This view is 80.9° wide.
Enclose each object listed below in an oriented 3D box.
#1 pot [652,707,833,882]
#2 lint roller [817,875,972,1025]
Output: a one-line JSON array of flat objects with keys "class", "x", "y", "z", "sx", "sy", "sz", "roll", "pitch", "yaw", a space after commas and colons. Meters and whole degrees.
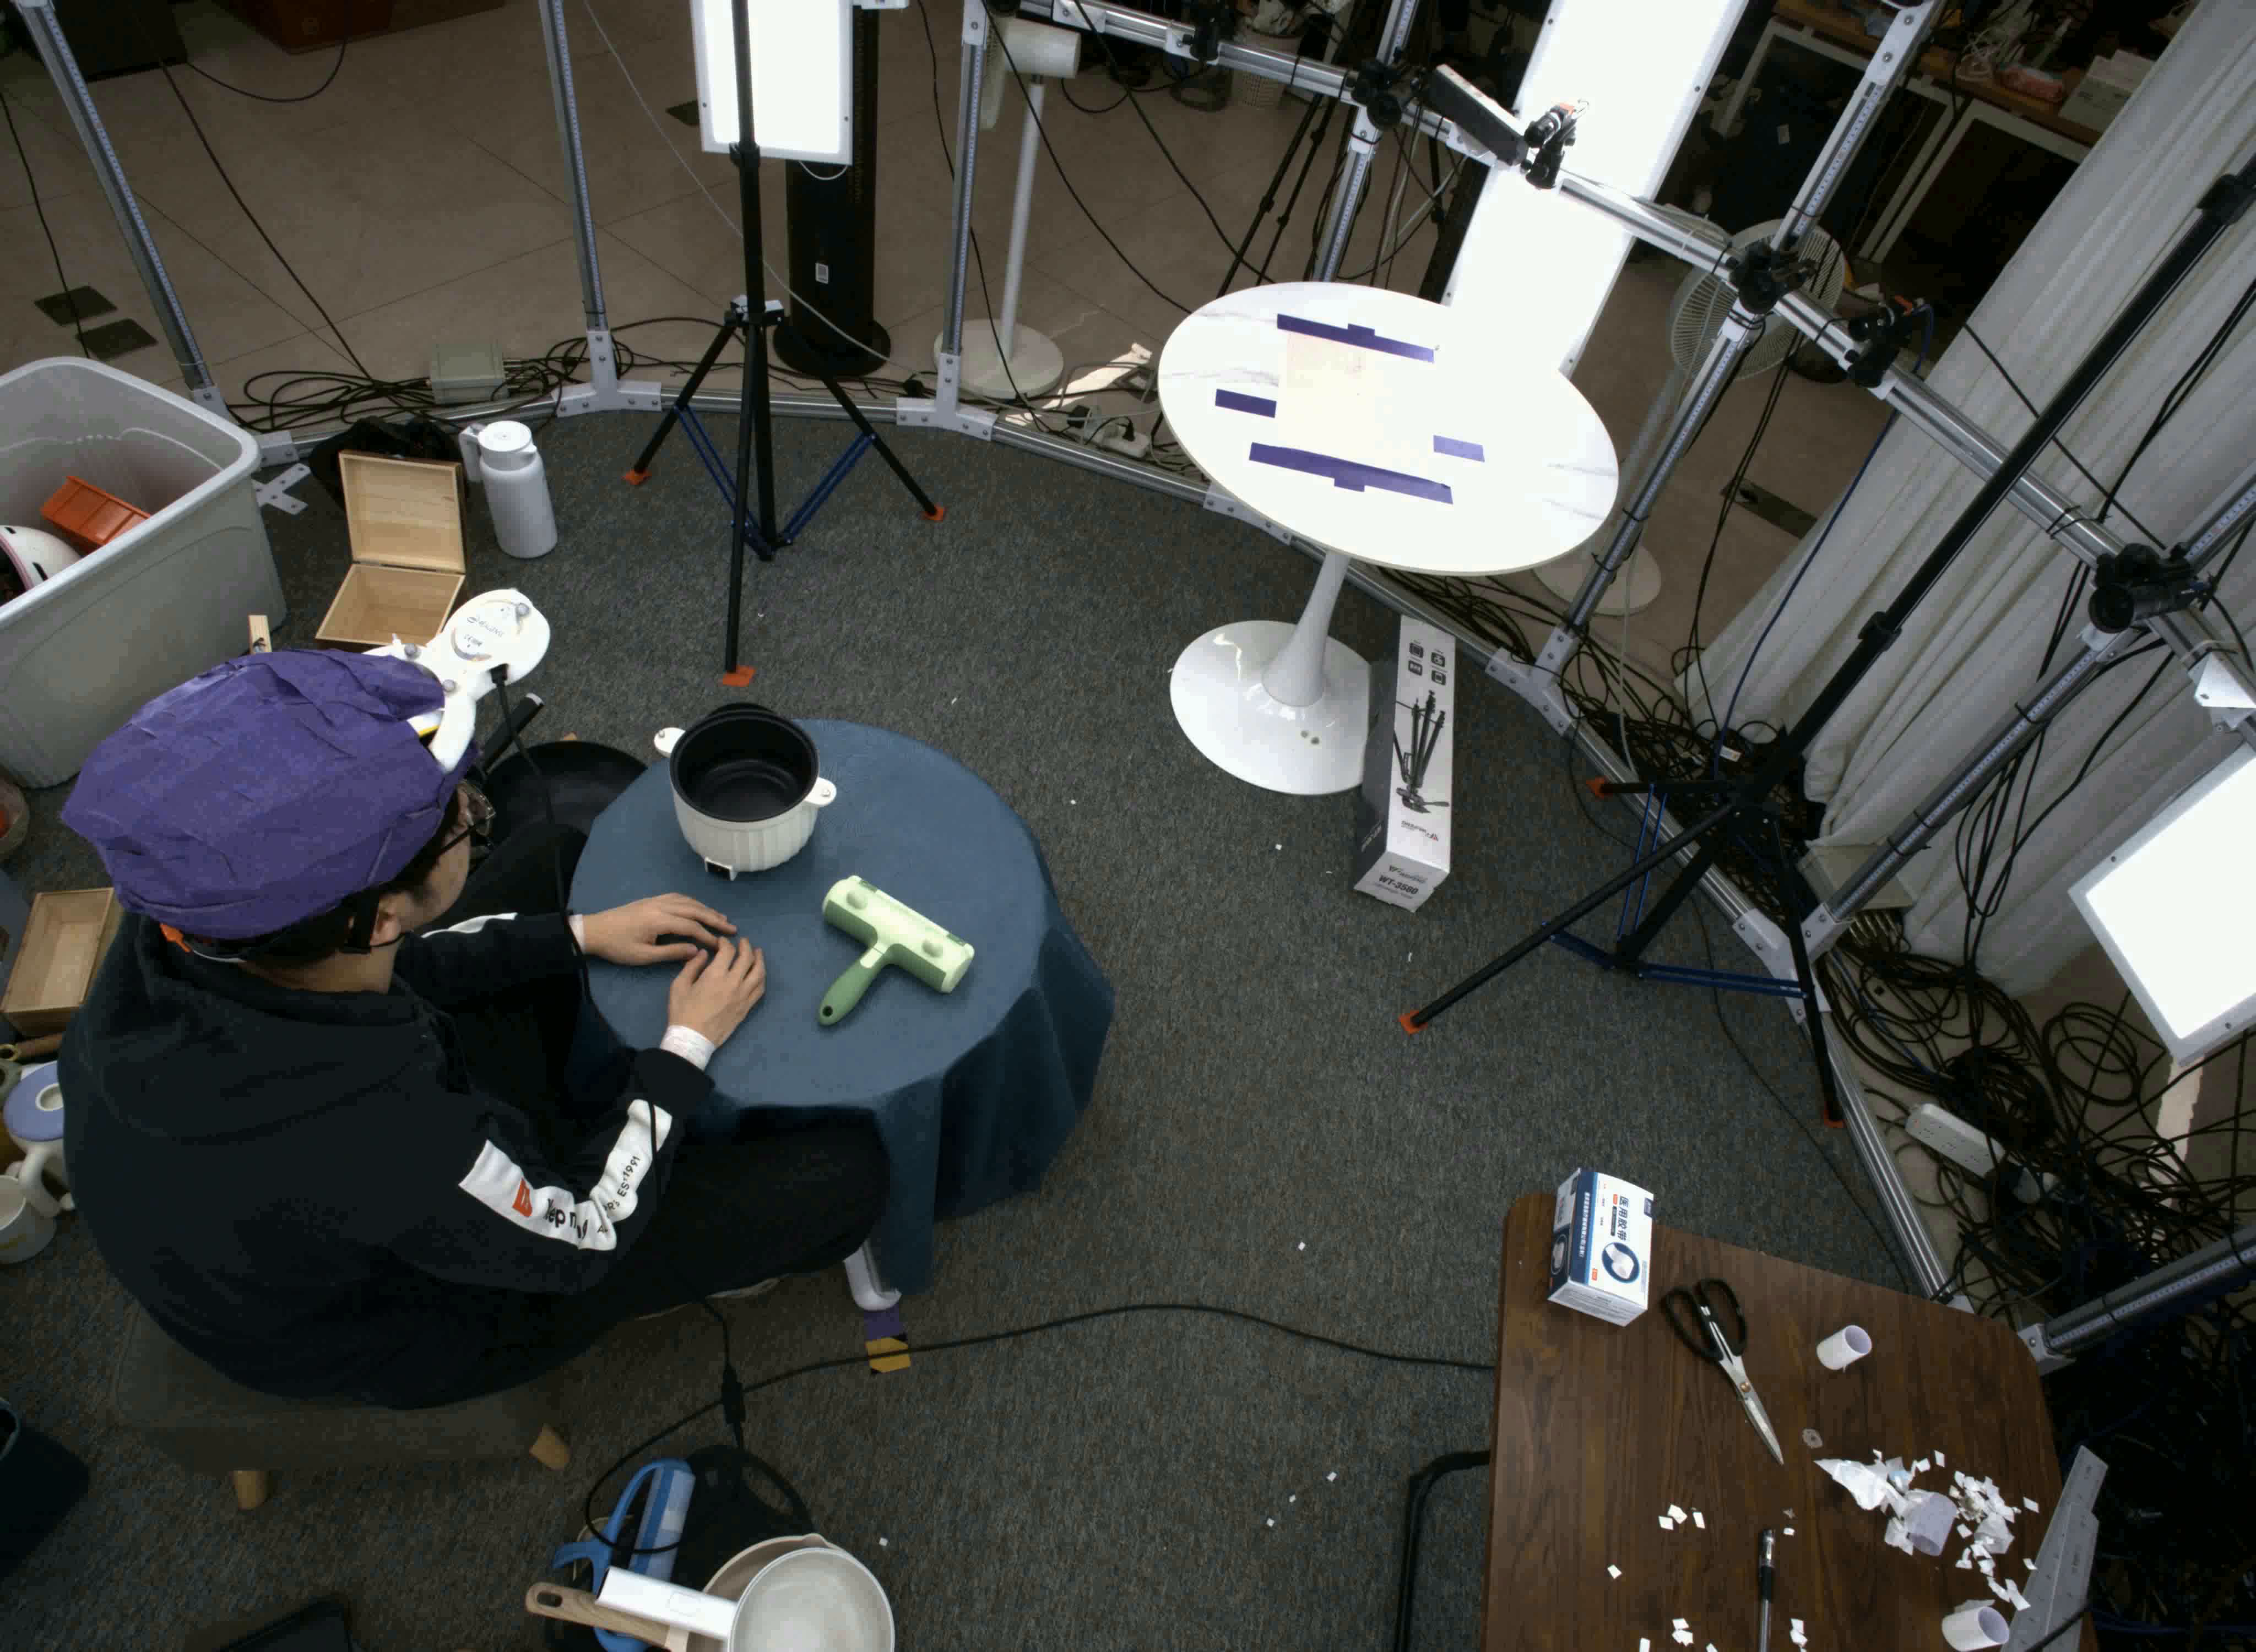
[{"class": "pot", "x": -0.489, "y": -0.043, "z": 1.656, "sx": 0.238, "sy": 0.145, "sz": 0.188, "roll": 19, "pitch": 55, "yaw": -1}, {"class": "lint roller", "x": -0.318, "y": 0.160, "z": 1.591, "sx": 0.195, "sy": 0.084, "sz": 0.183, "roll": 31, "pitch": 47, "yaw": 9}]
